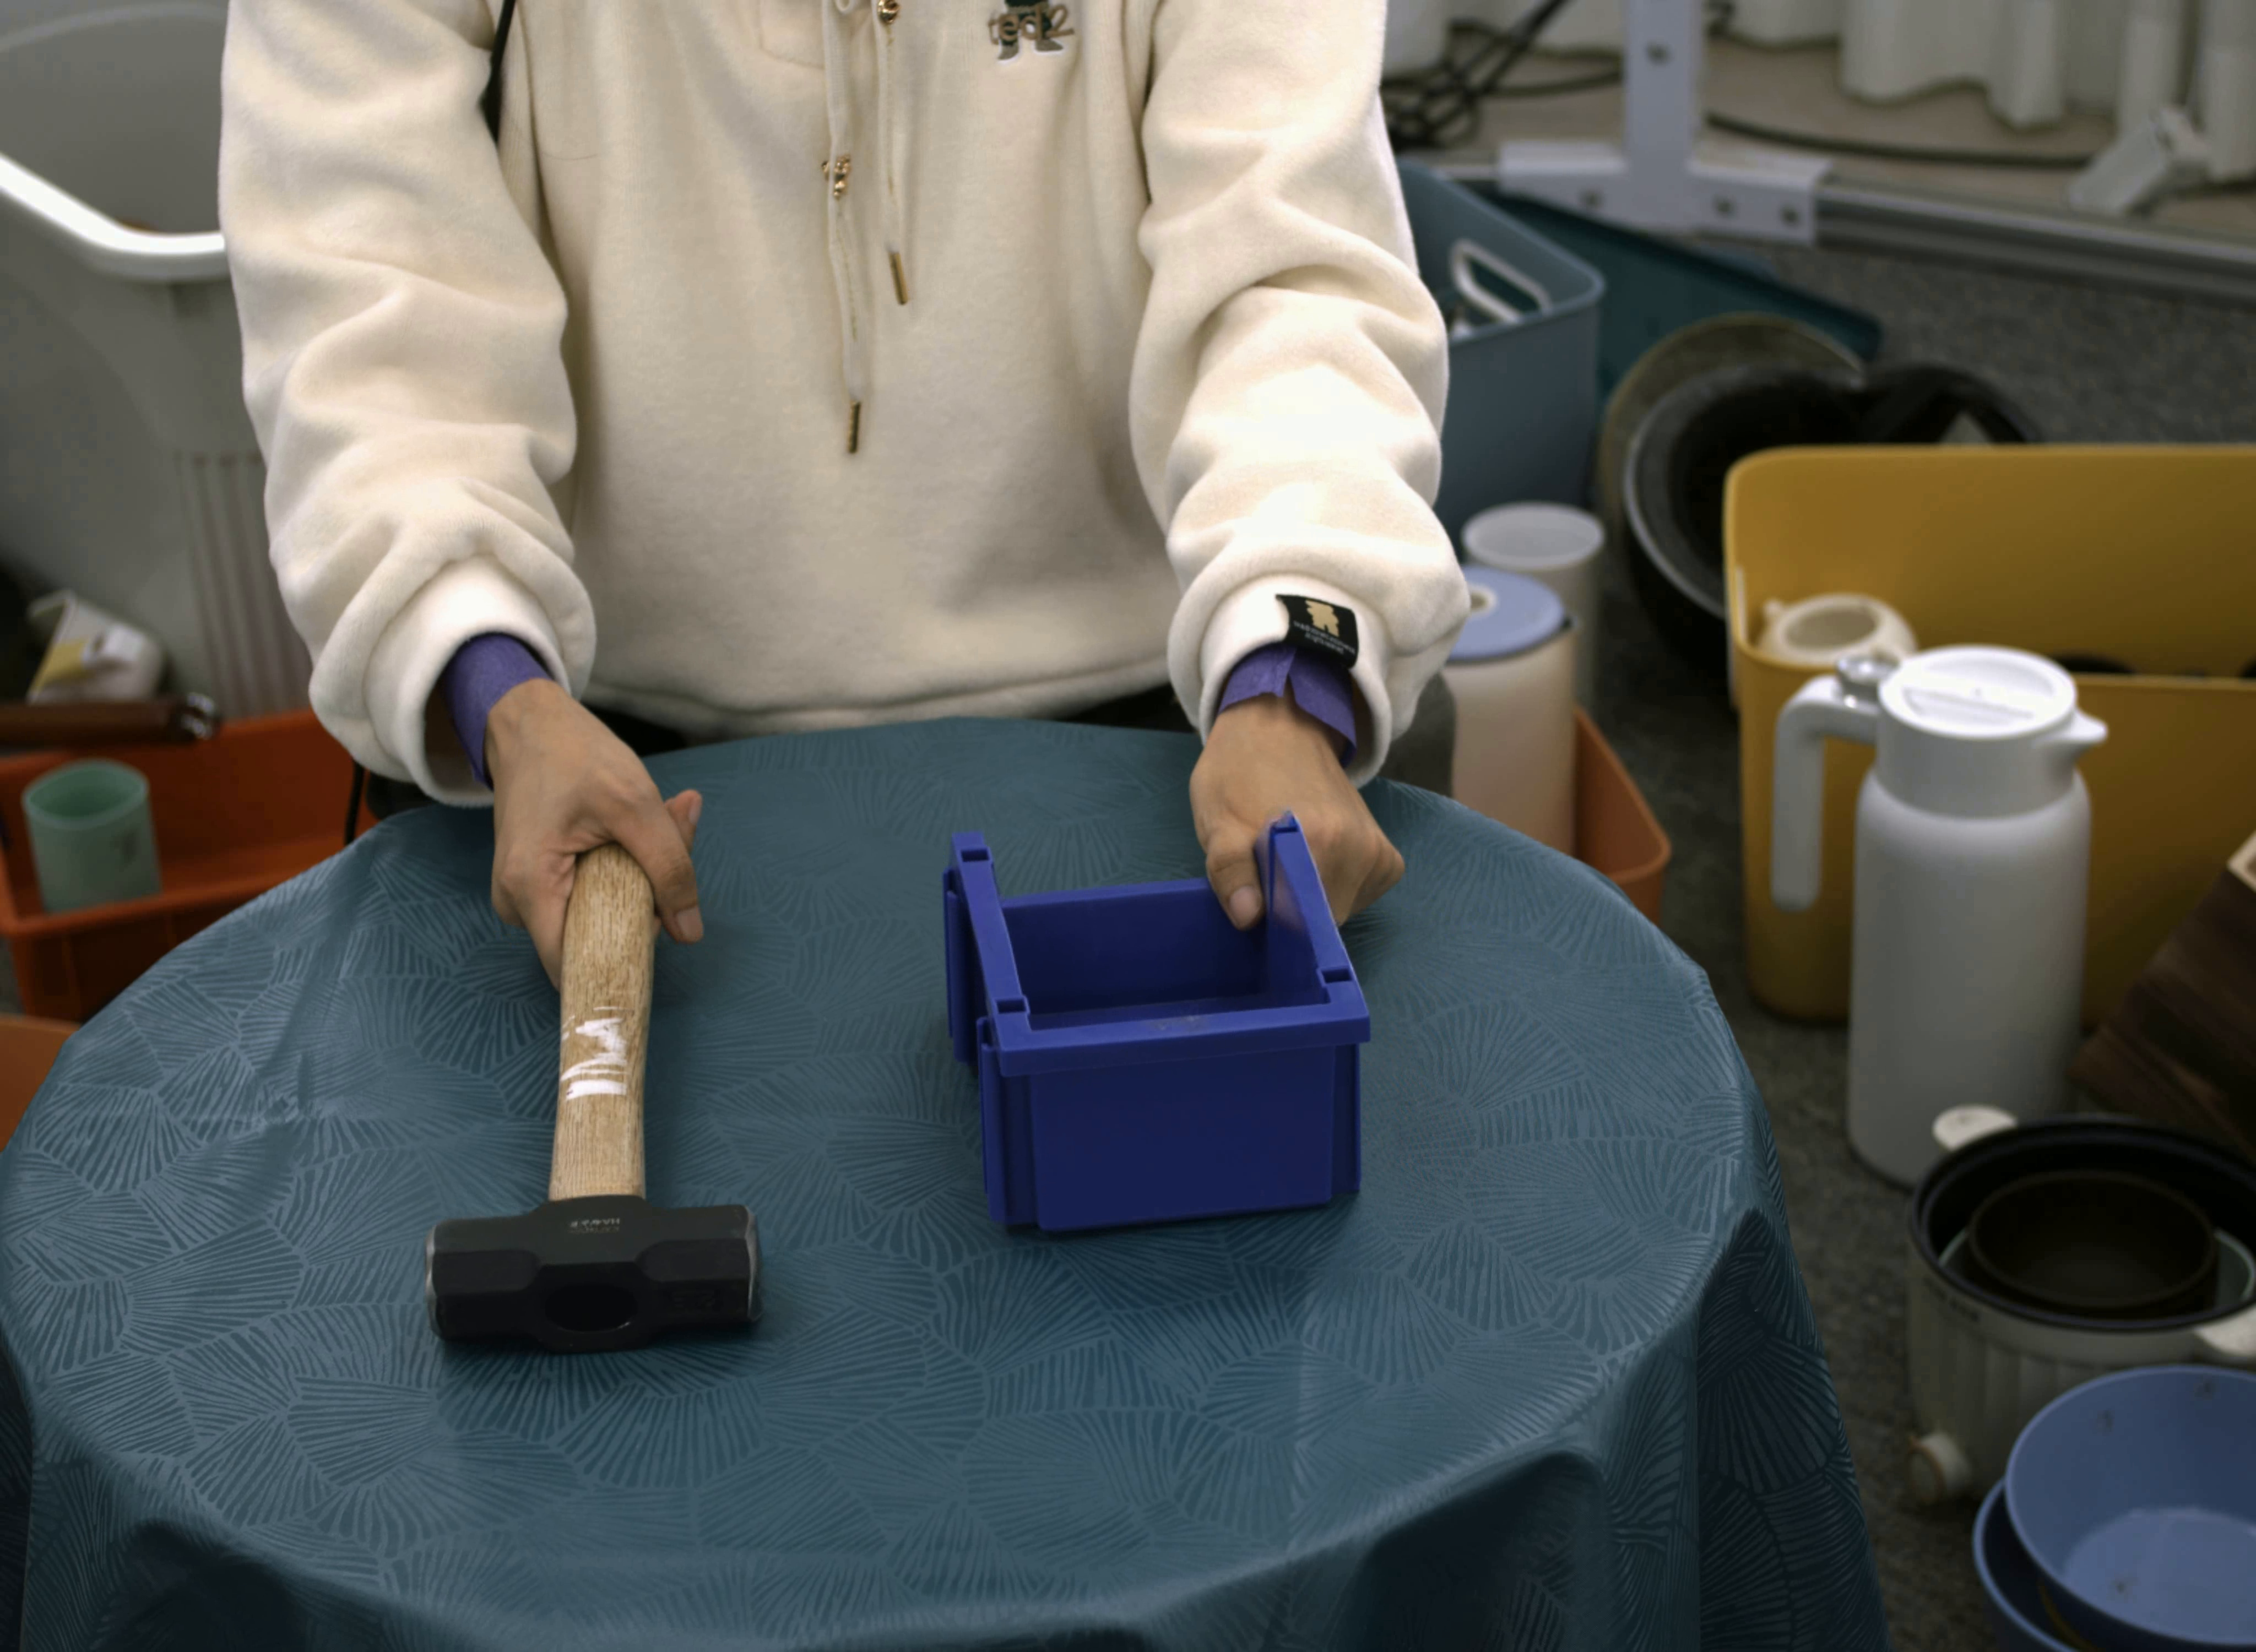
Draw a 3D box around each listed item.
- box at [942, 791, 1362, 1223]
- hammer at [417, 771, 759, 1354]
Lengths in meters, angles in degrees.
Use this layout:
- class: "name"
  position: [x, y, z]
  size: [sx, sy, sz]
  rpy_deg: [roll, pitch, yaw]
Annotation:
- class: "box"
  position: [0.004, 0.056, 1.898]
  size: [0.124, 0.081, 0.182]
  rpy_deg: [-5, 30, -6]
- class: "hammer"
  position: [-0.174, 0.072, 1.907]
  size: [0.107, 0.038, 0.310]
  rpy_deg: [-2, 32, 0]
